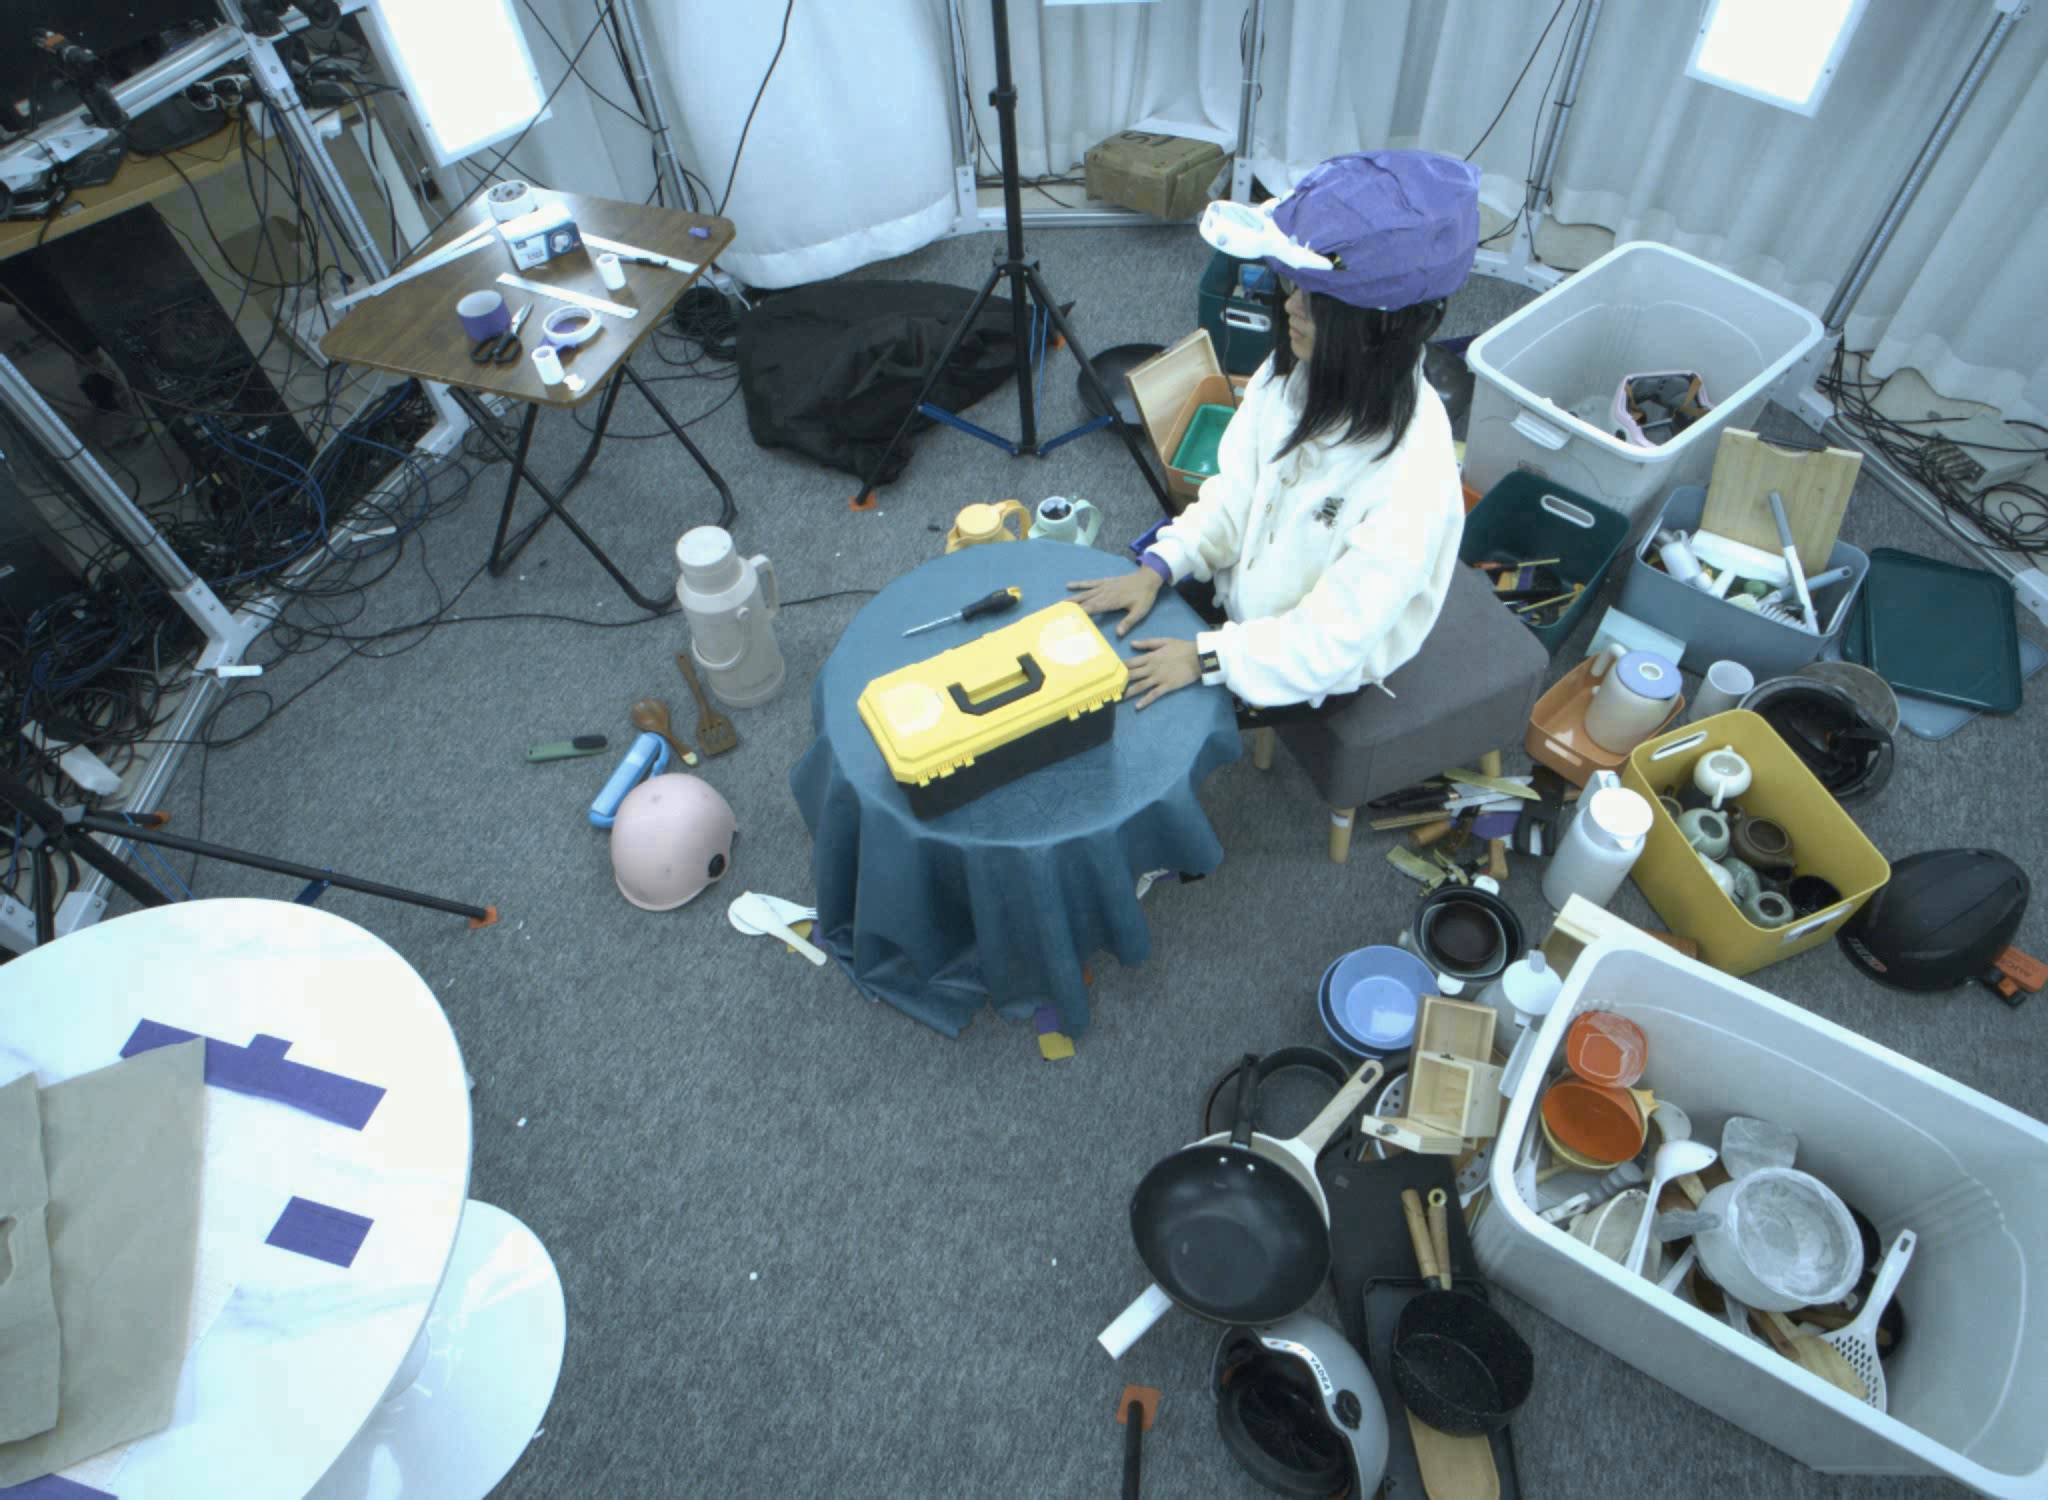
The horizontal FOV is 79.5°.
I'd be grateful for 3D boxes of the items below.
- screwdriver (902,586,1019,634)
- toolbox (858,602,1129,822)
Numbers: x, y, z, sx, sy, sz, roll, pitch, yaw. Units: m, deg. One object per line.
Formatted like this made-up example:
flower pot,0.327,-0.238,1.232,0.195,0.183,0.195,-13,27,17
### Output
screwdriver,-0.102,-0.220,1.927,0.197,0.032,0.031,-18,56,-9
toolbox,-0.039,-0.052,1.719,0.354,0.175,0.178,-24,57,-14
